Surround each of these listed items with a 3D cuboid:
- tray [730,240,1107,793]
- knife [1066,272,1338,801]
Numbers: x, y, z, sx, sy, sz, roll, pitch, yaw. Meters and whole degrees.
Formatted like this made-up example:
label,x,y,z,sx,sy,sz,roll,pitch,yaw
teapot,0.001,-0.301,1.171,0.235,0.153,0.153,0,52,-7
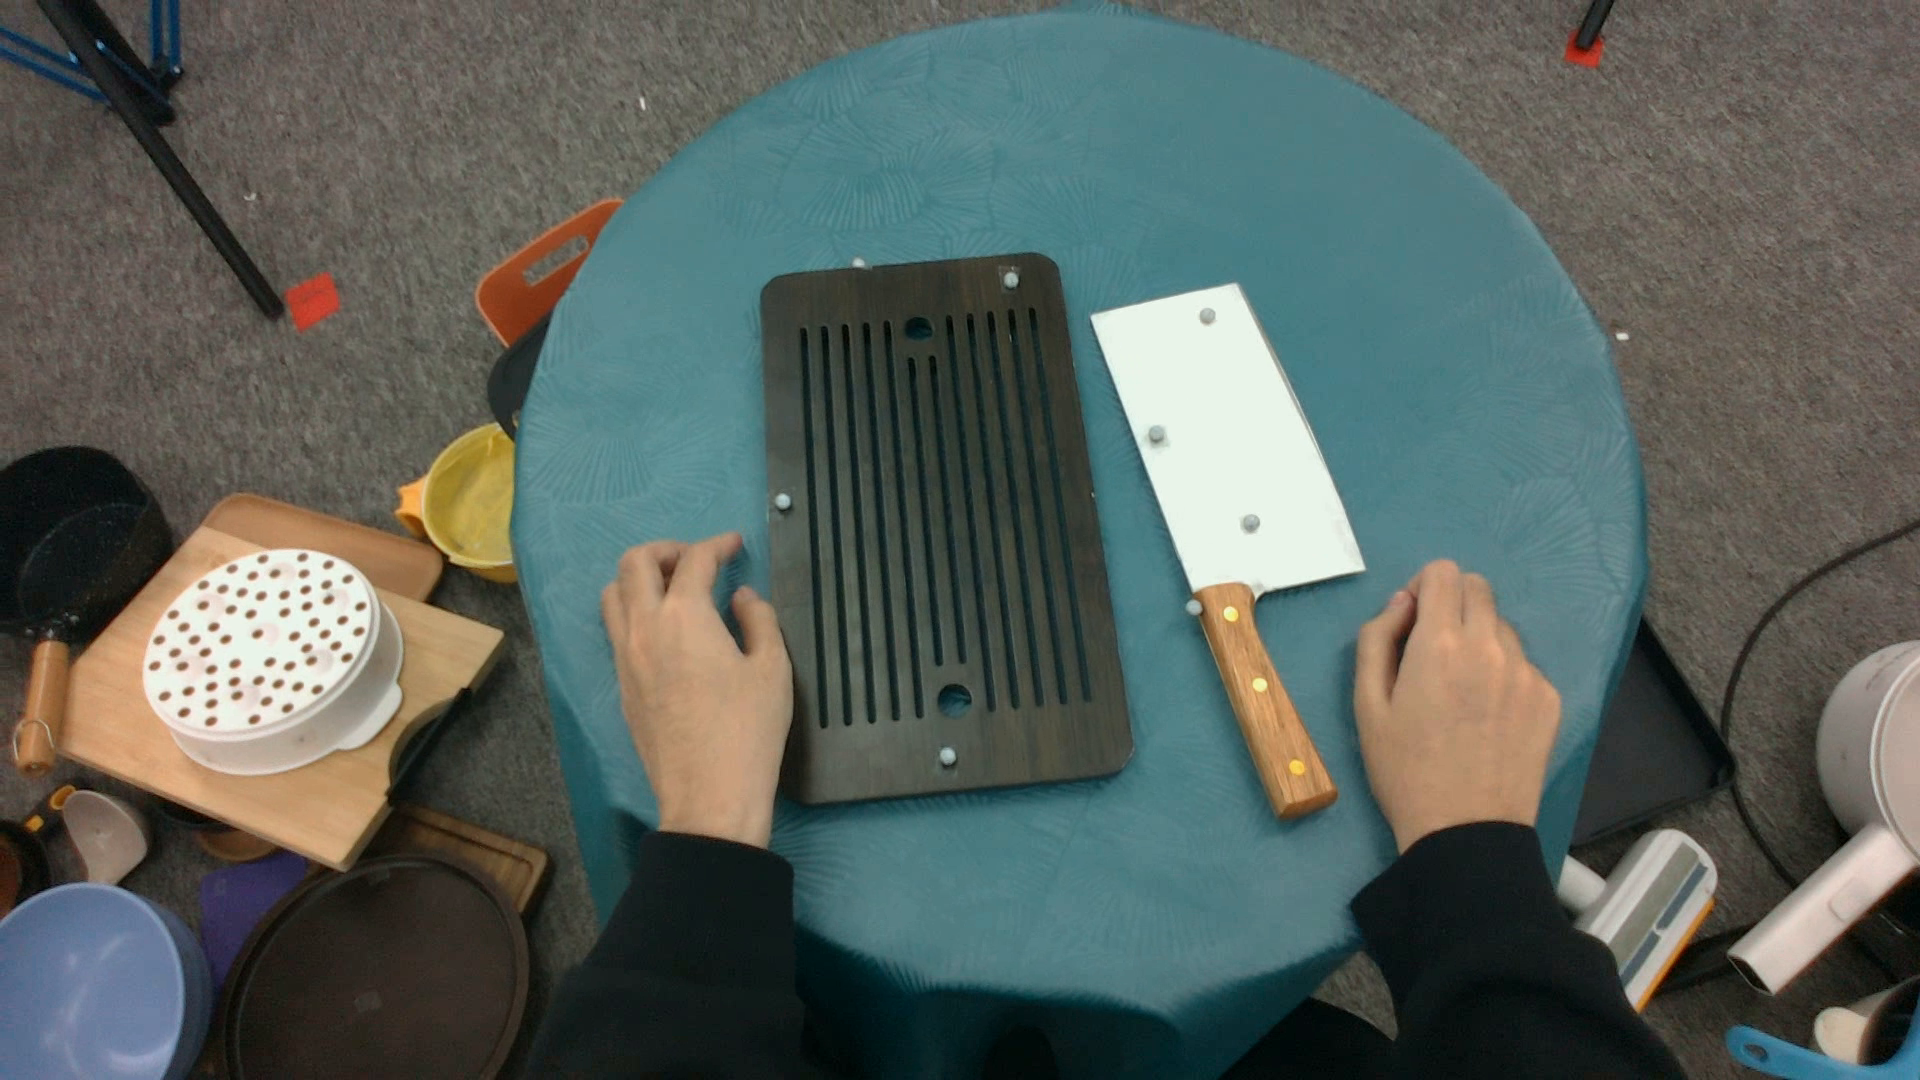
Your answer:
label,x,y,z,sx,sy,sz,roll,pitch,yaw
tray,-0.029,-0.024,0.713,0.170,0.018,0.307,-5,64,-2
knife,0.139,-0.018,0.709,0.093,0.021,0.306,-13,62,-7
